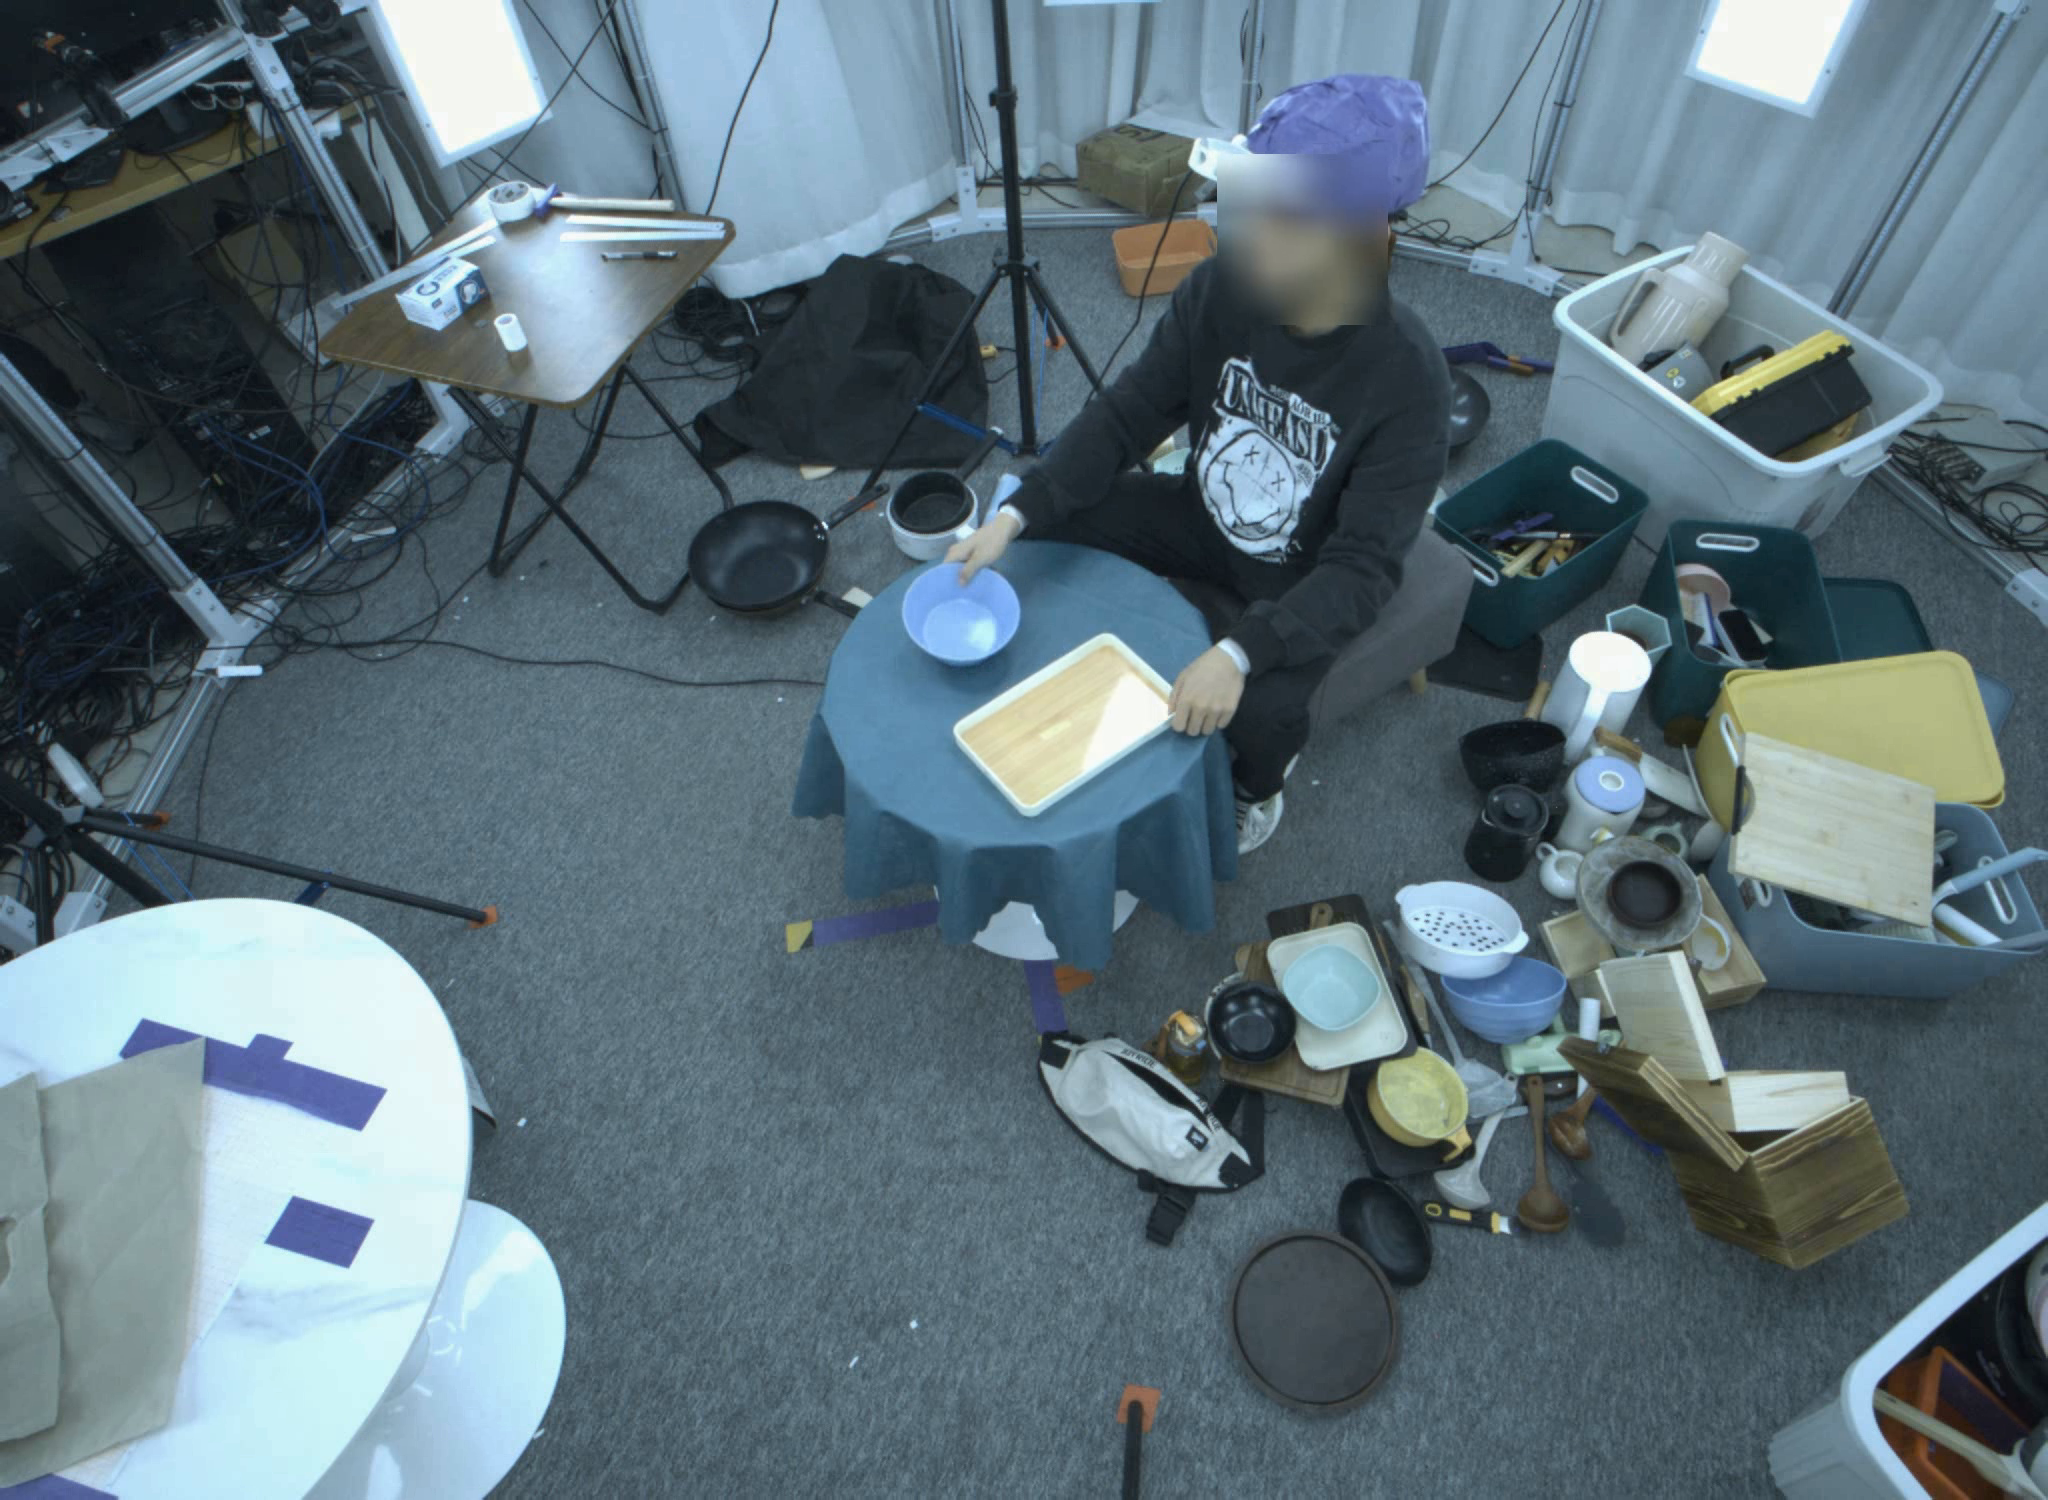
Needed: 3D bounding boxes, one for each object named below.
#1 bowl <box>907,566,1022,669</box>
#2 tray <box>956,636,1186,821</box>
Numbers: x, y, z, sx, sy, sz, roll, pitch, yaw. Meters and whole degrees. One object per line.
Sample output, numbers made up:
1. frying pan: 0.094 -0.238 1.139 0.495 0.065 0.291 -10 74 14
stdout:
1. bowl: -0.091 -0.192 1.881 0.176 0.071 0.174 2 64 -3
2. tray: 0.070 -0.037 1.806 0.302 0.028 0.188 -33 61 -19
